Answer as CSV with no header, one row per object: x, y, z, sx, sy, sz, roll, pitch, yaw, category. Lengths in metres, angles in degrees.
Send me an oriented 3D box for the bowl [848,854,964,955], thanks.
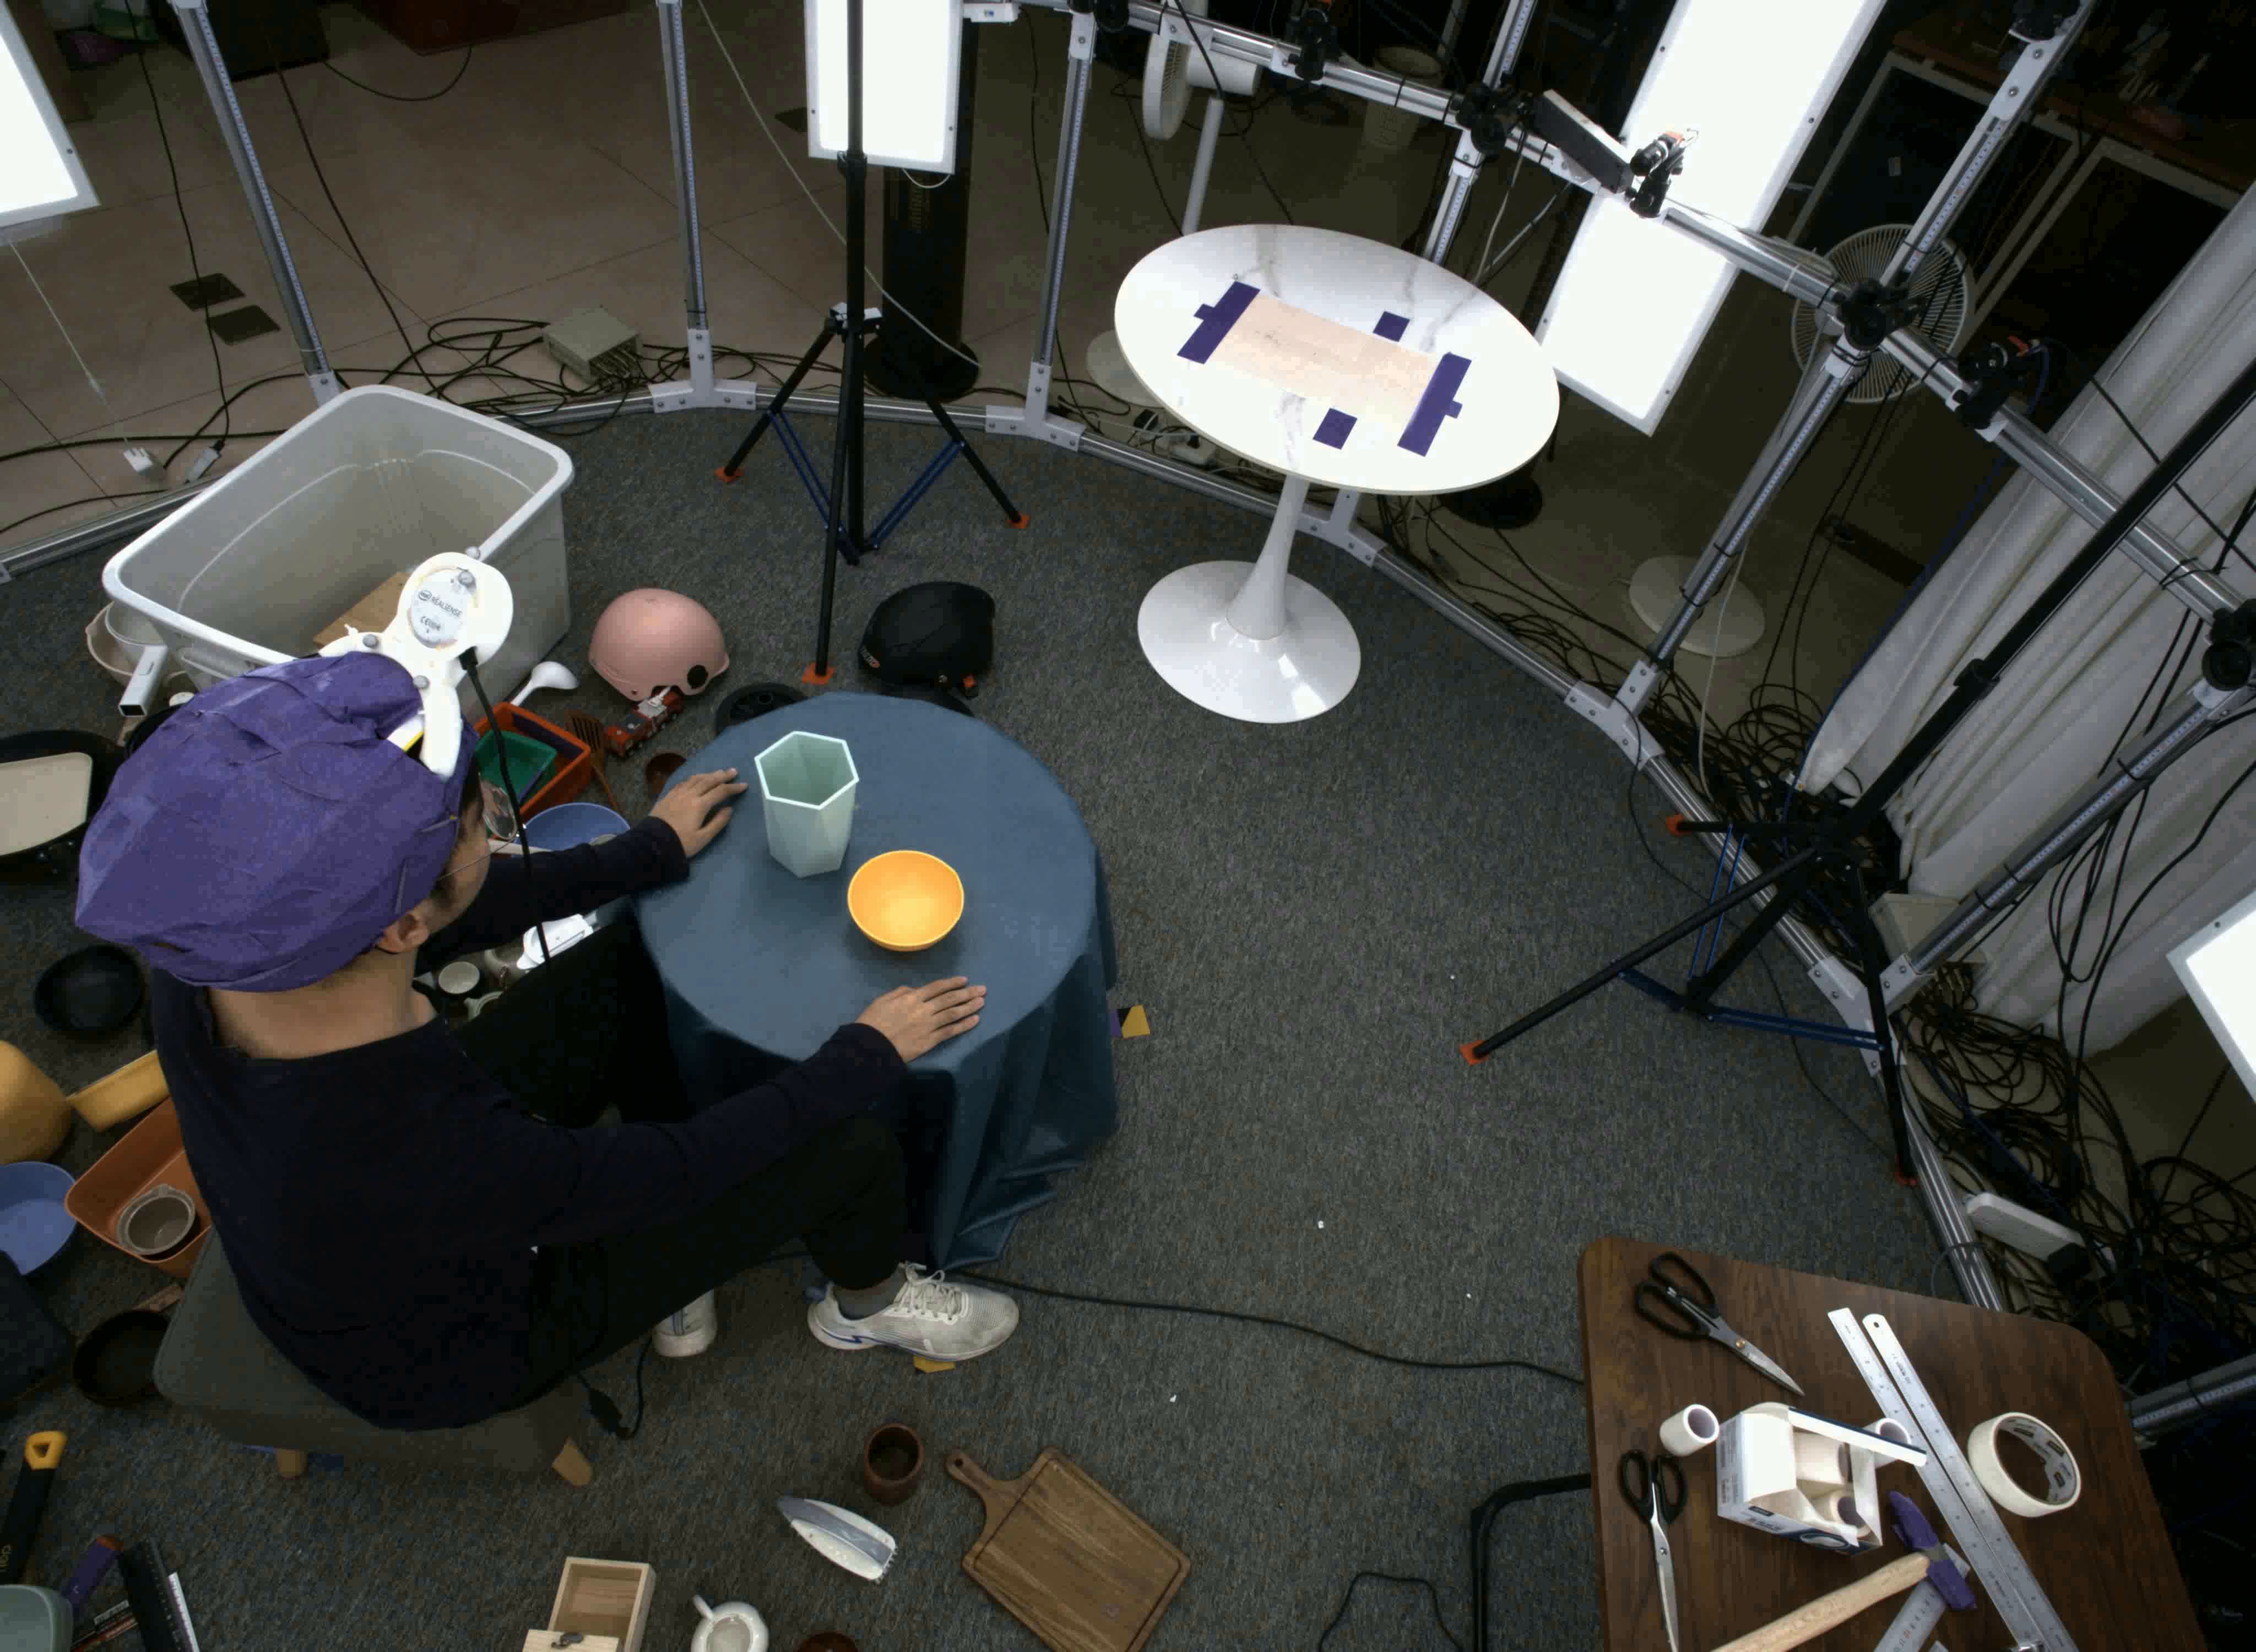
-0.280,0.108,1.647,0.144,0.061,0.143,6,54,-6,bowl

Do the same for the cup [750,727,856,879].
-0.406,-0.024,1.643,0.115,0.167,0.127,-16,57,-21,cup
